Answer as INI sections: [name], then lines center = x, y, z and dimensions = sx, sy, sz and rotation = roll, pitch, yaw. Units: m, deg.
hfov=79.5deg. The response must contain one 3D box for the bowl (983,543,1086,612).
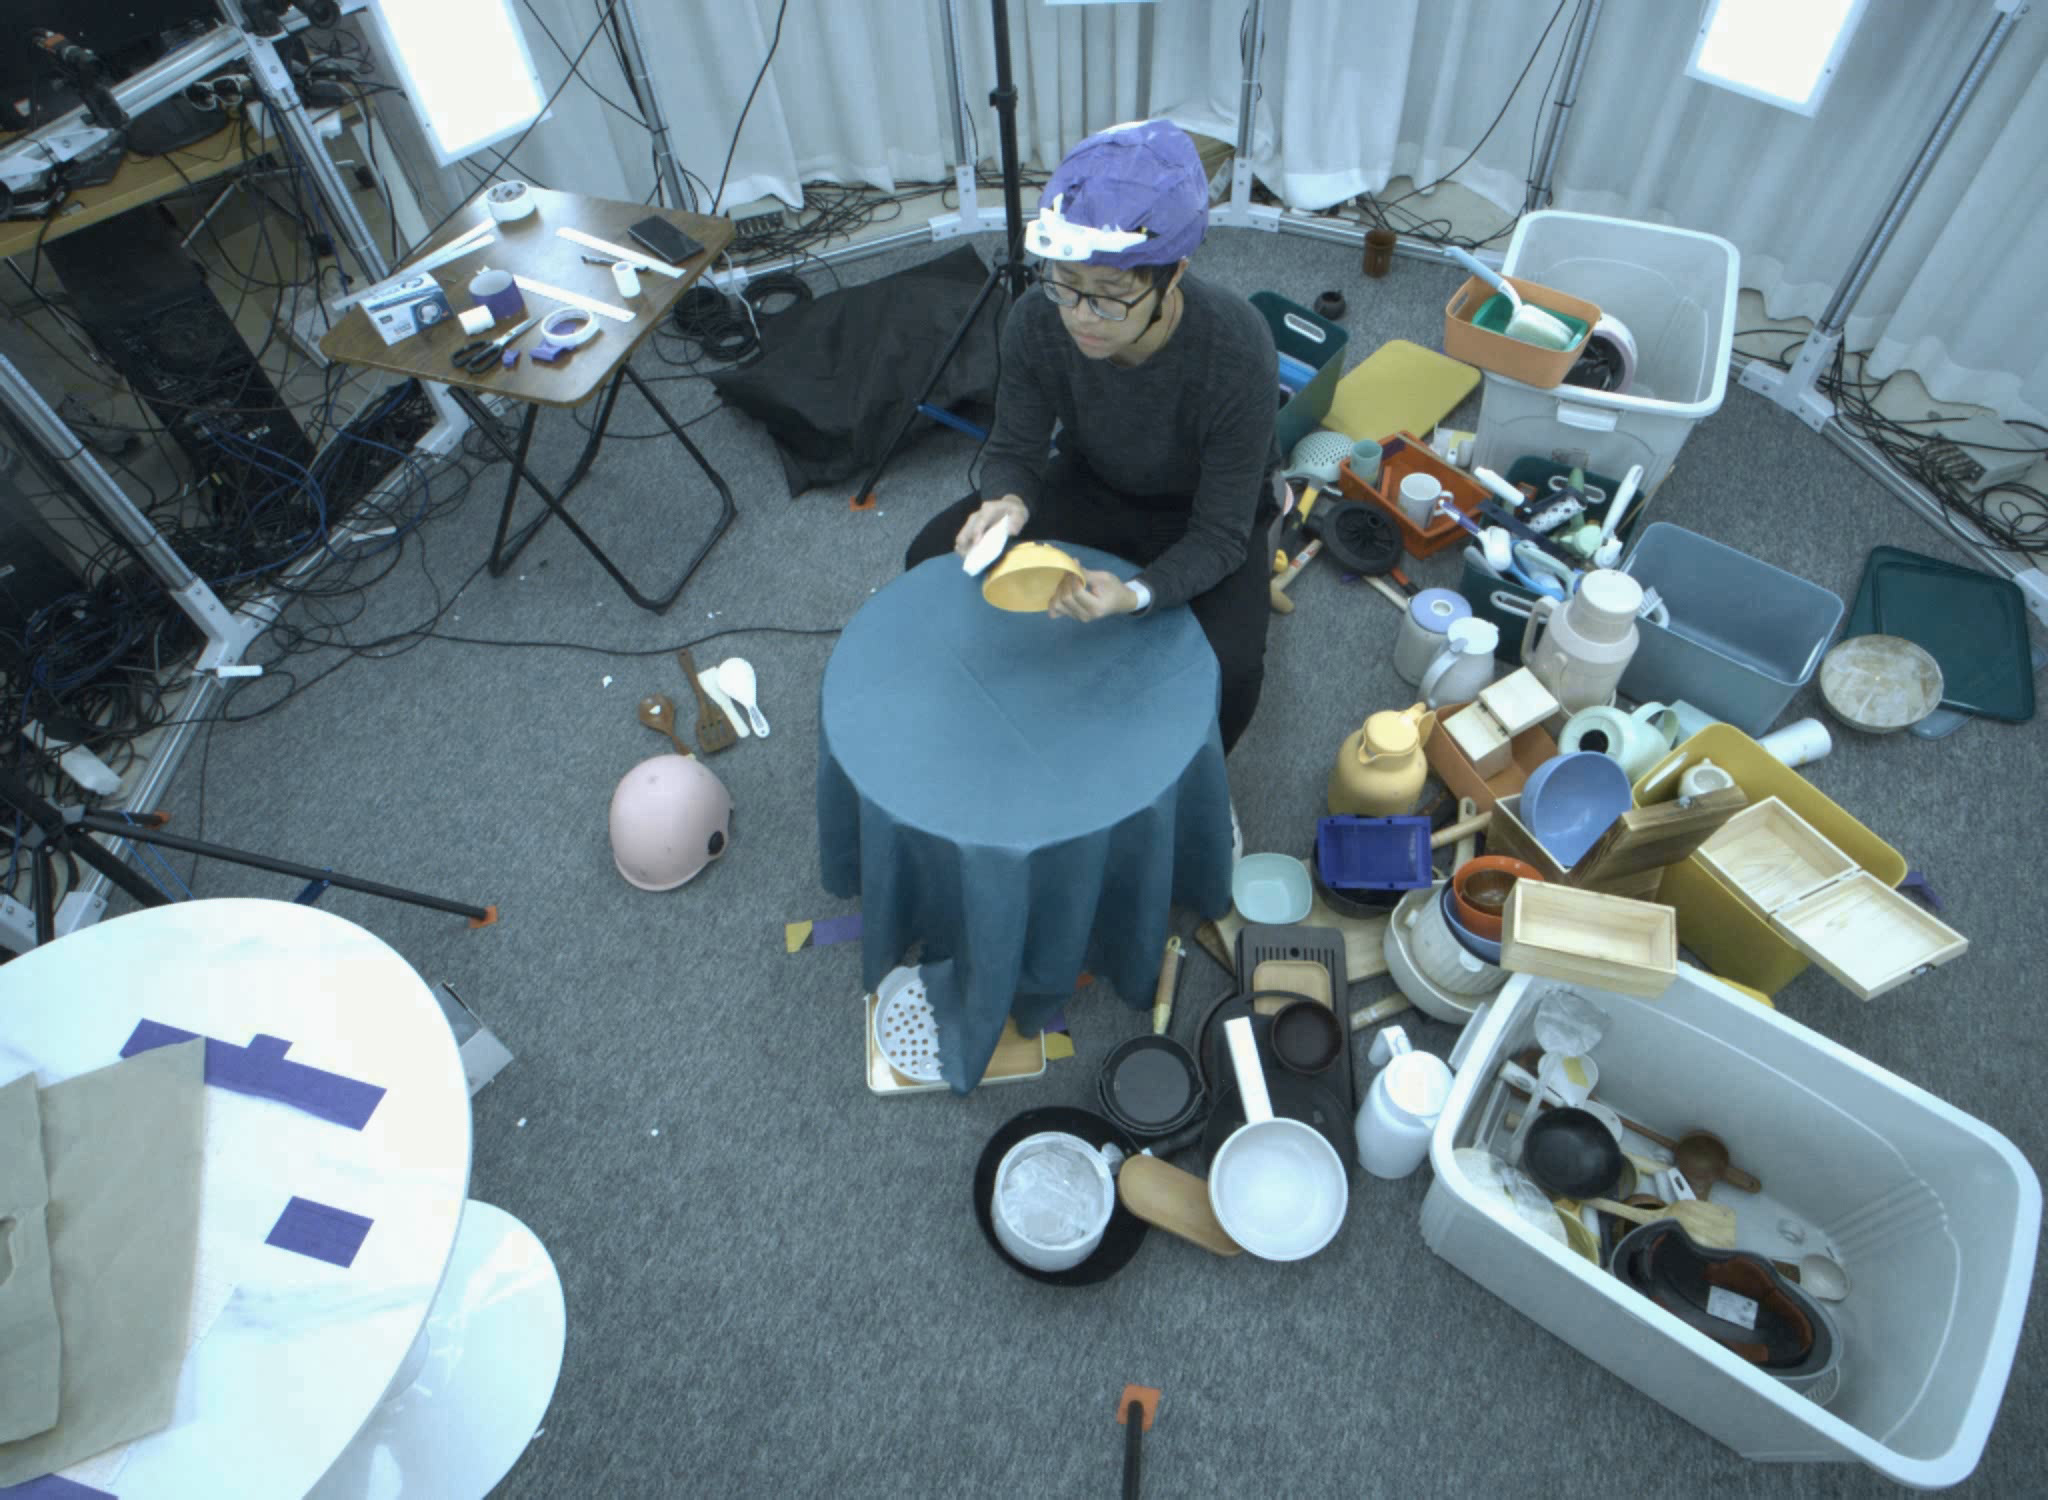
[bowl]
center = 0.012, -0.249, 1.721
dimensions = 0.145, 0.146, 0.059
rotation = -6, 72, -1

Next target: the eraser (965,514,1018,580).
[eraser]
center = -0.046, -0.289, 1.718
dimensions = 0.063, 0.035, 0.130
rotation = -32, 24, 27
